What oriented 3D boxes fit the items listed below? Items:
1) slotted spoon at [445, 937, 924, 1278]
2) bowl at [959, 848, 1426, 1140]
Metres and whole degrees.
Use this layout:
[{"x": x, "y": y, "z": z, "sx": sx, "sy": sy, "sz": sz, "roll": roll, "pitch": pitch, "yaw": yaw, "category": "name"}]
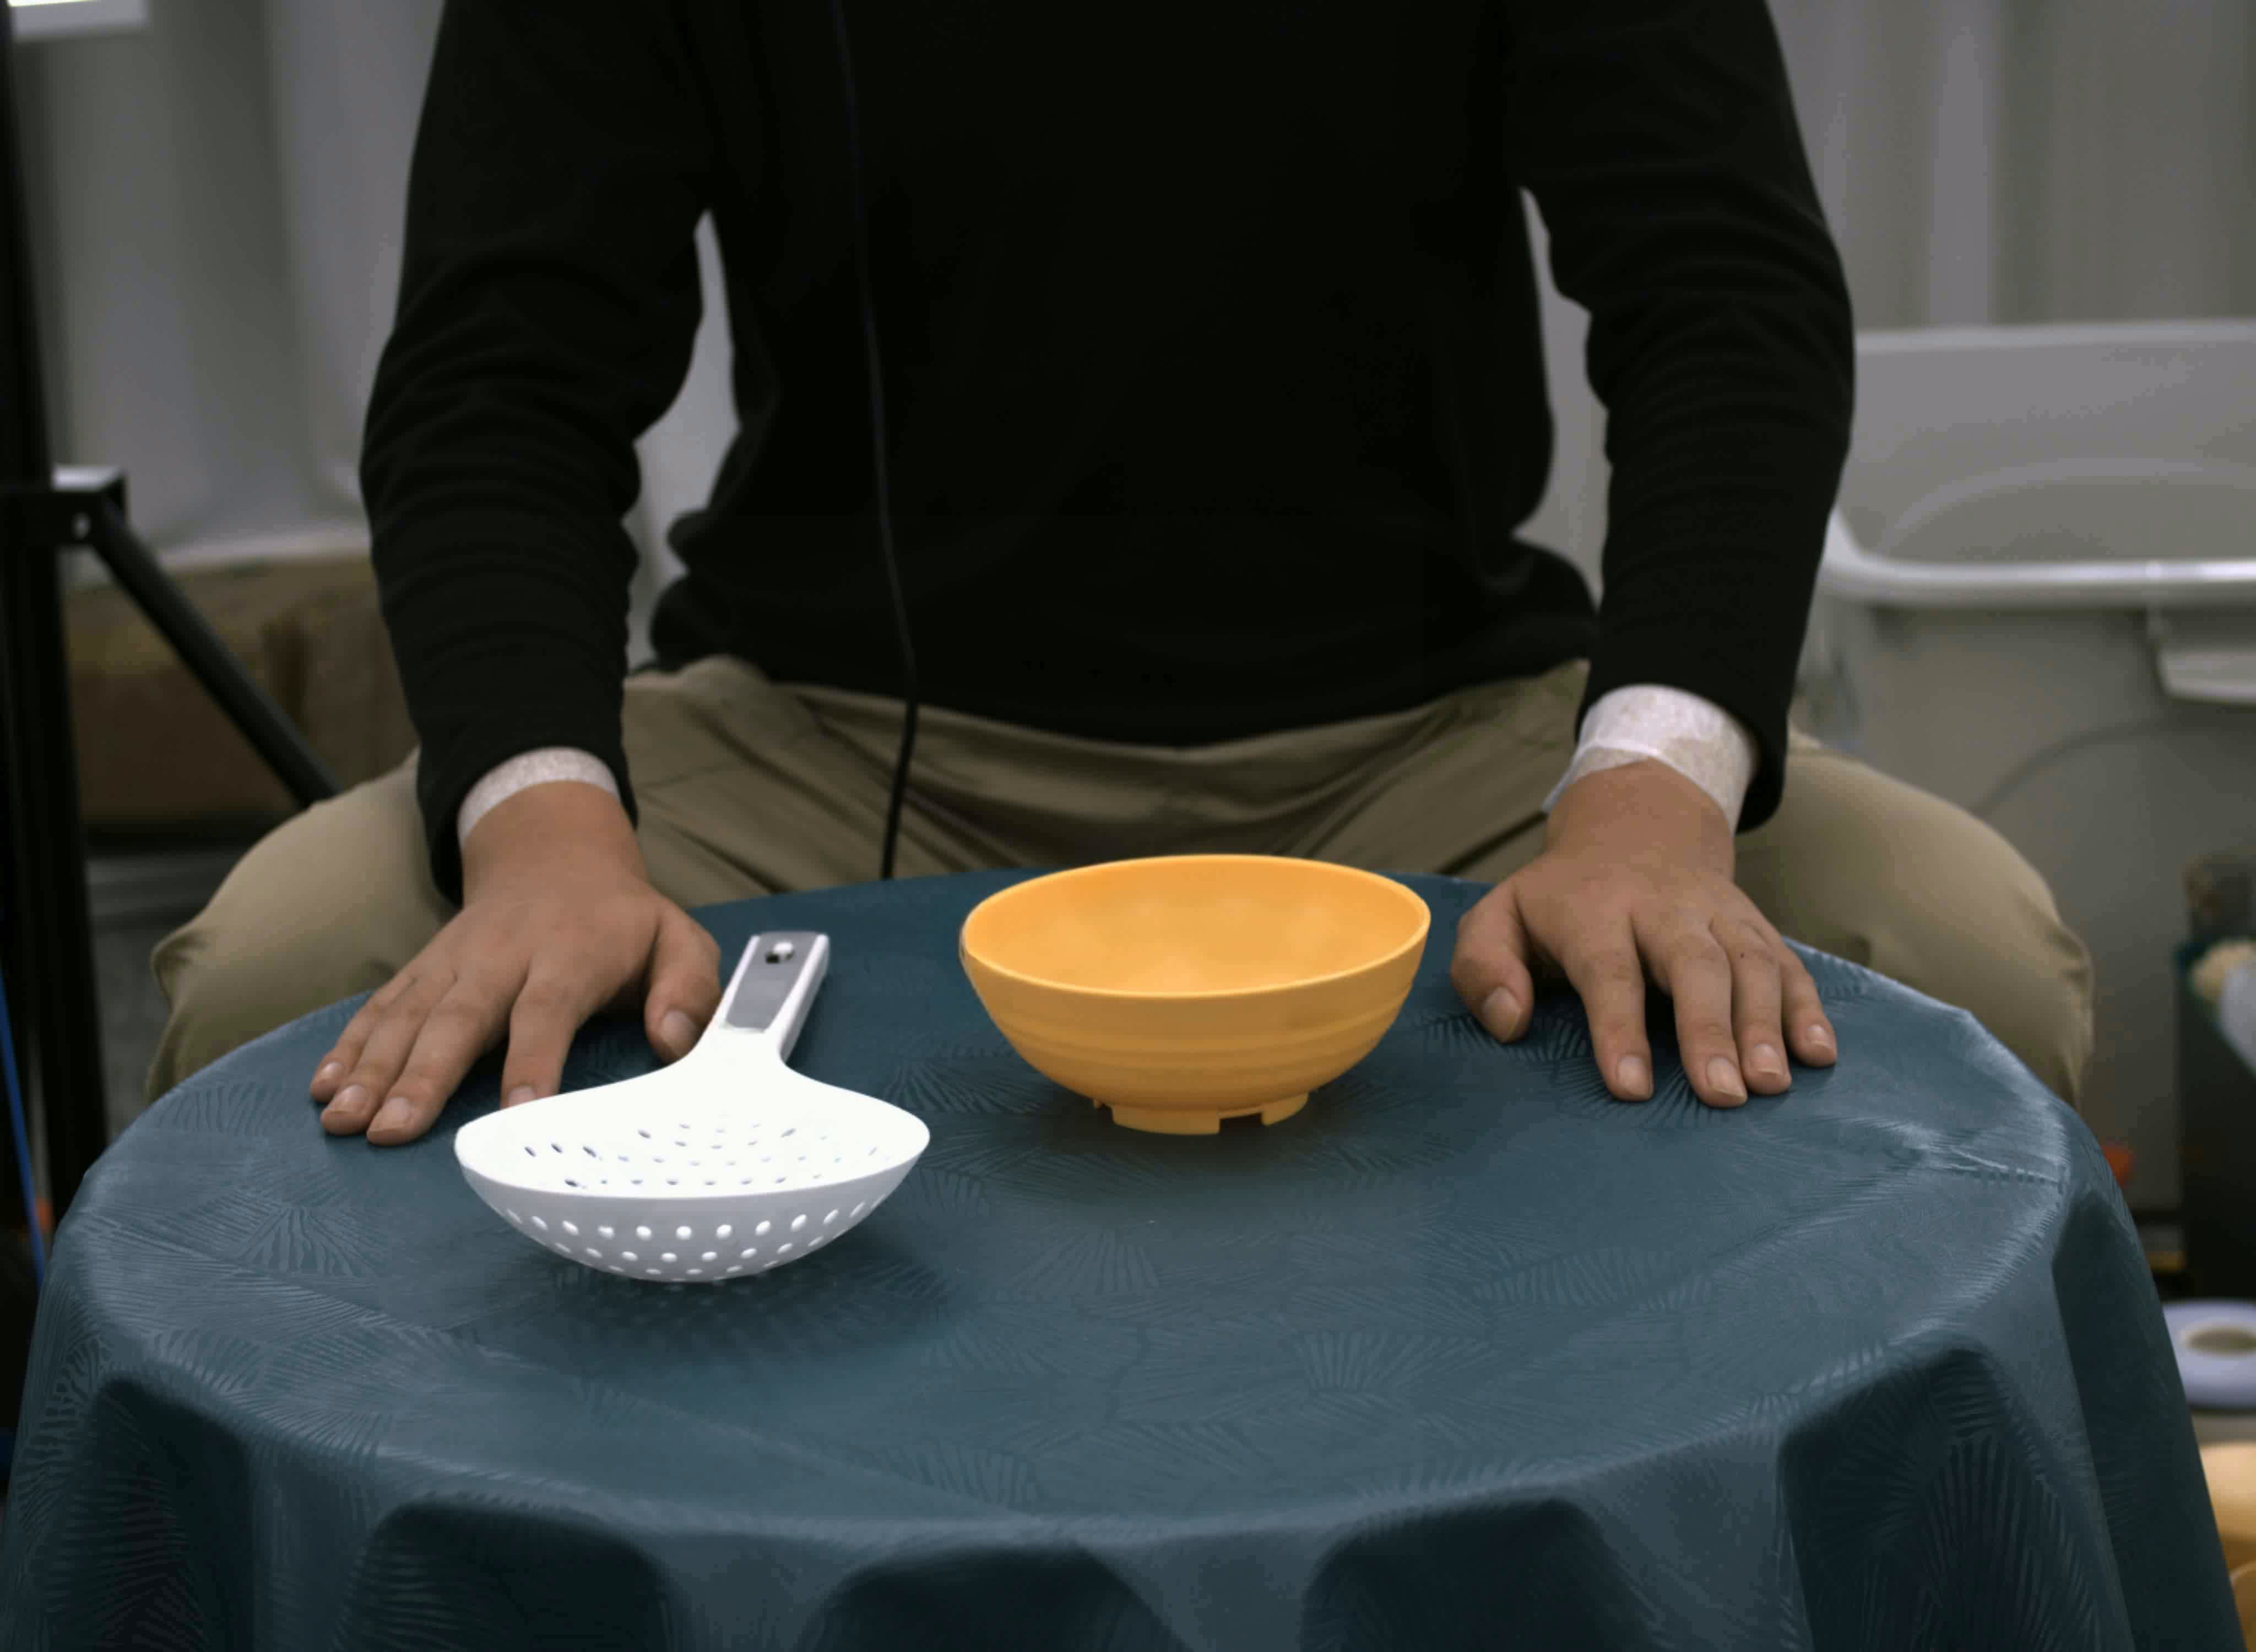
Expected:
[{"x": -0.121, "y": 0.075, "z": 1.609, "sx": 0.136, "sy": 0.046, "sz": 0.350, "roll": -1, "pitch": 15, "yaw": 3, "category": "slotted spoon"}, {"x": 0.020, "y": 0.057, "z": 1.630, "sx": 0.144, "sy": 0.060, "sz": 0.146, "roll": -2, "pitch": 18, "yaw": -1, "category": "bowl"}]
